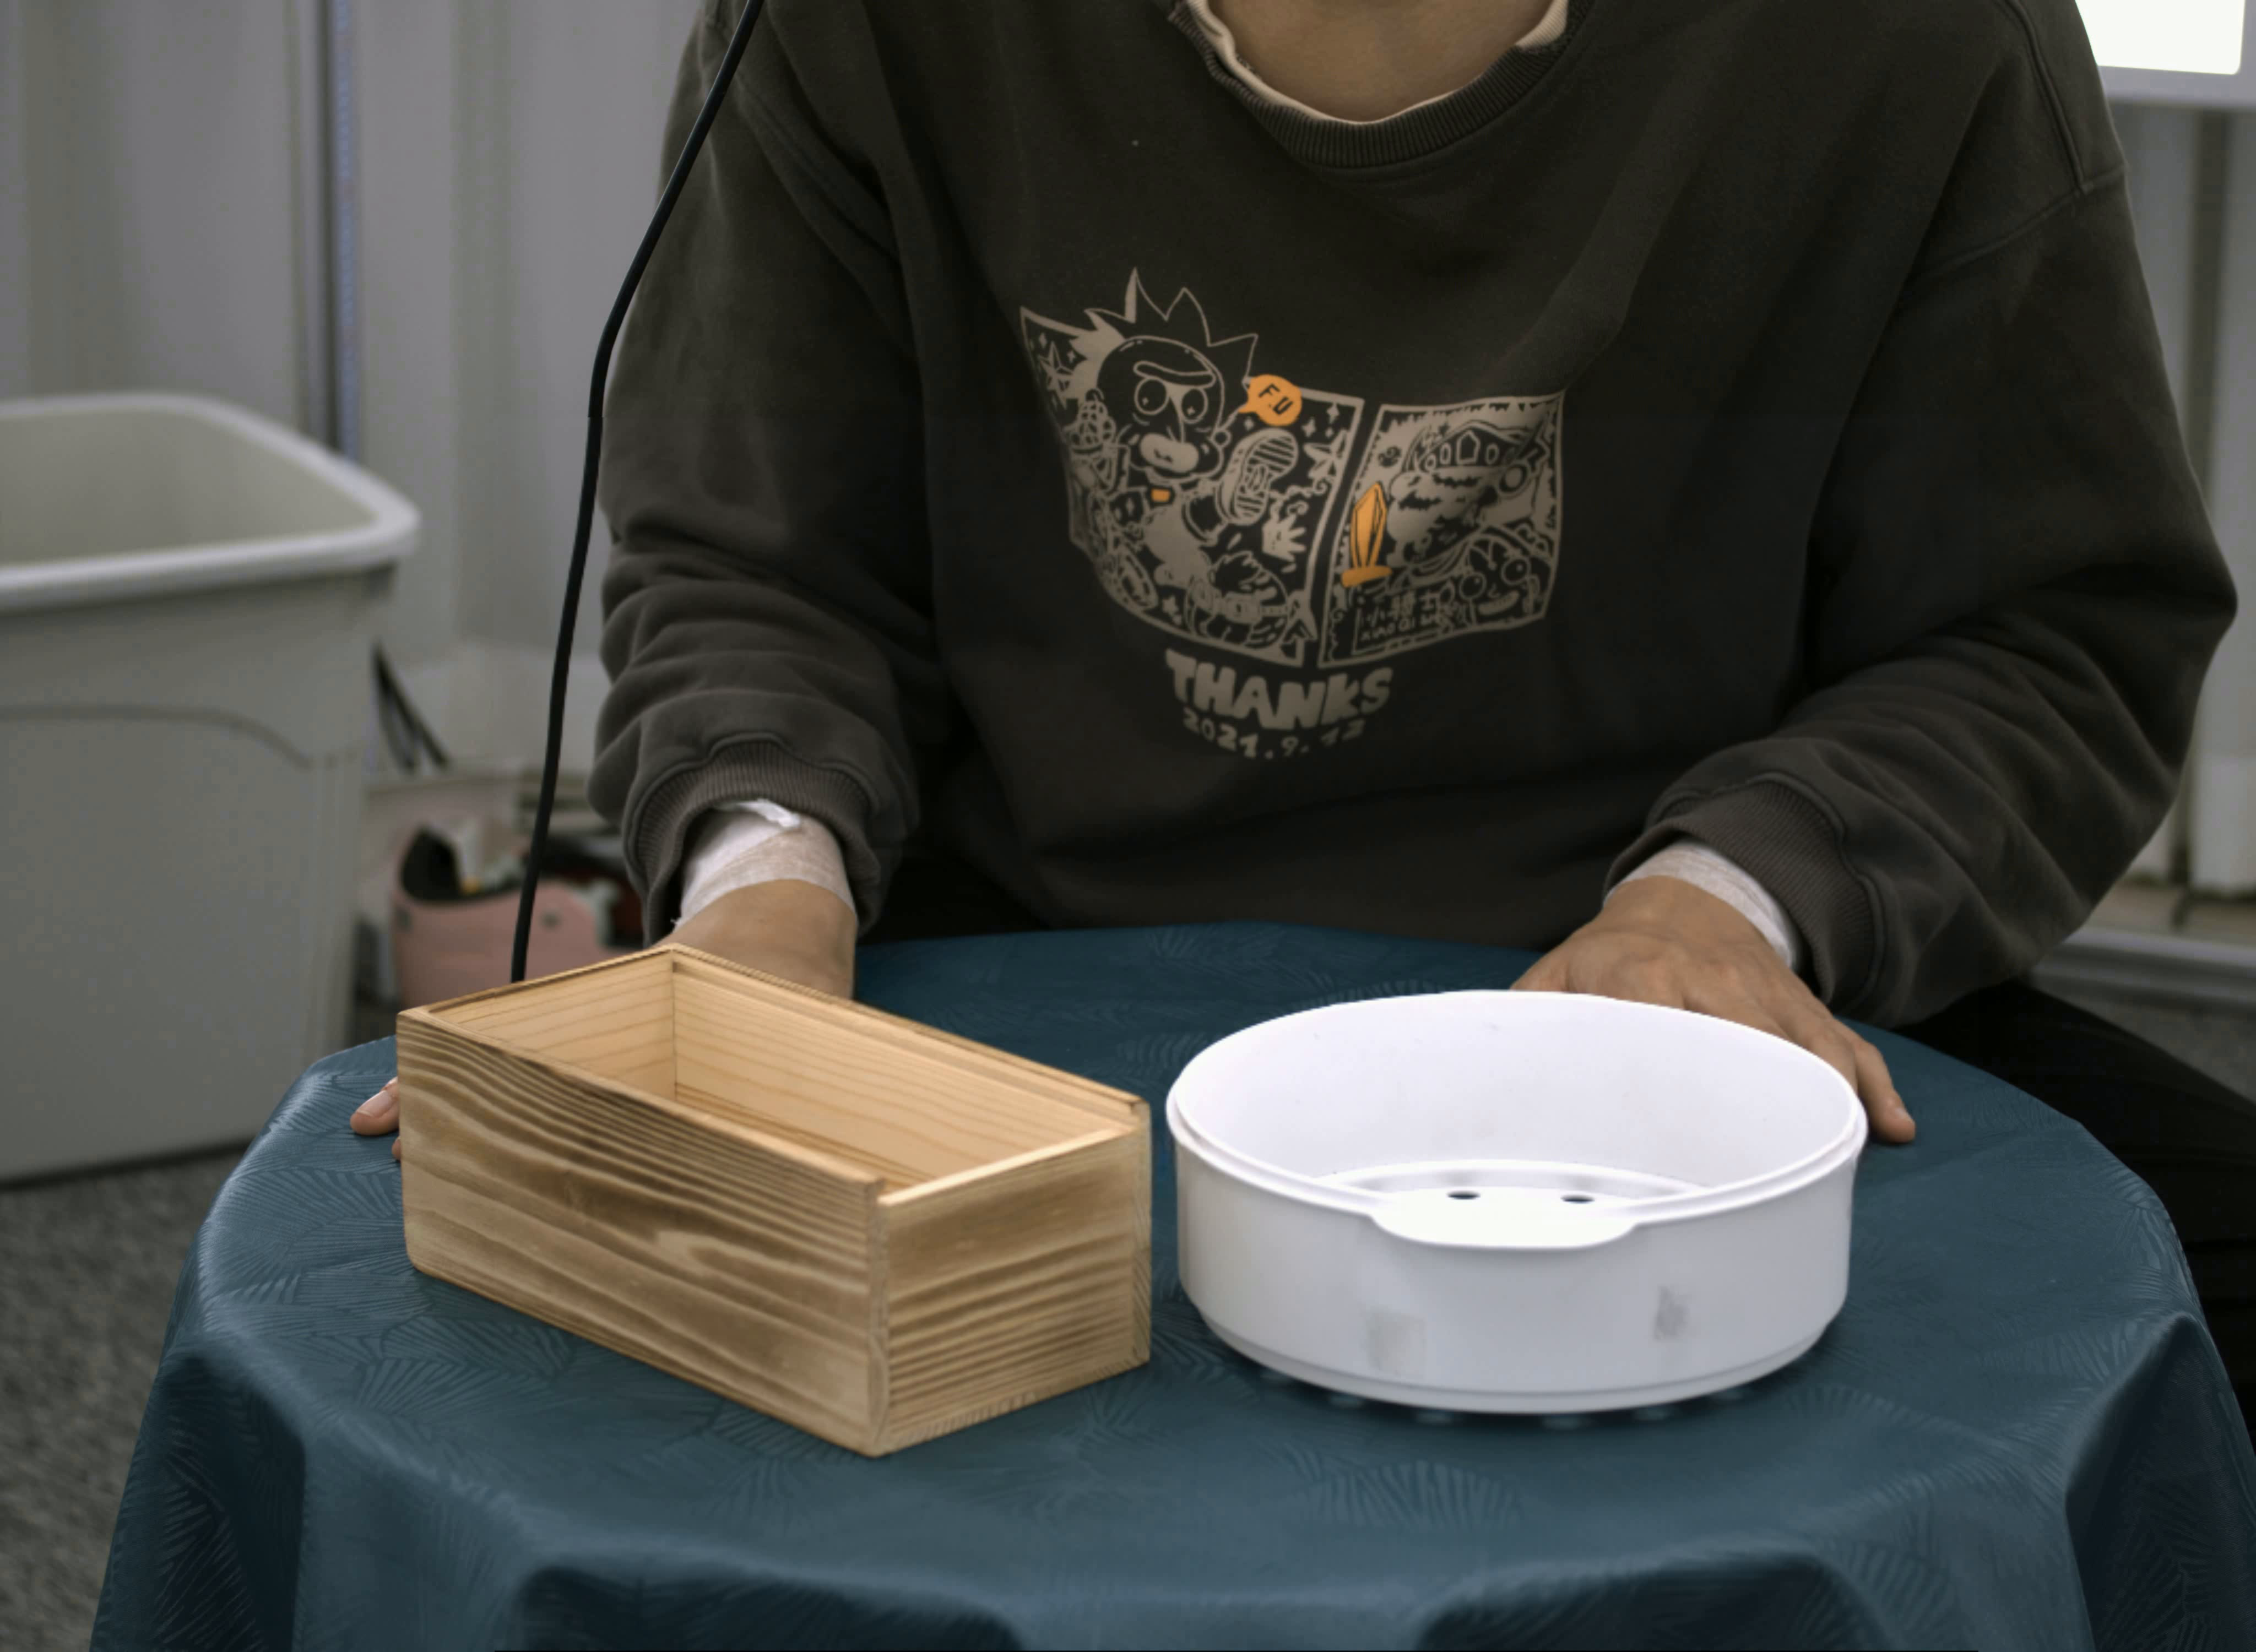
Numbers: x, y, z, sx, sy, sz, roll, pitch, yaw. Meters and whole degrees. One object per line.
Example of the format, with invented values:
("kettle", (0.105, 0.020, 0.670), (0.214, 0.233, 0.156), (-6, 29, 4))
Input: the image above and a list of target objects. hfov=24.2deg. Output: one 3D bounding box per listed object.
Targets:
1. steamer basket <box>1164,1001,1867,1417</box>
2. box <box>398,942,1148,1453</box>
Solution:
("steamer basket", (0.110, 0.109, 1.518), (0.201, 0.070, 0.230), (2, 15, 5))
("box", (-0.105, 0.102, 1.513), (0.108, 0.081, 0.208), (-14, 21, -43))
